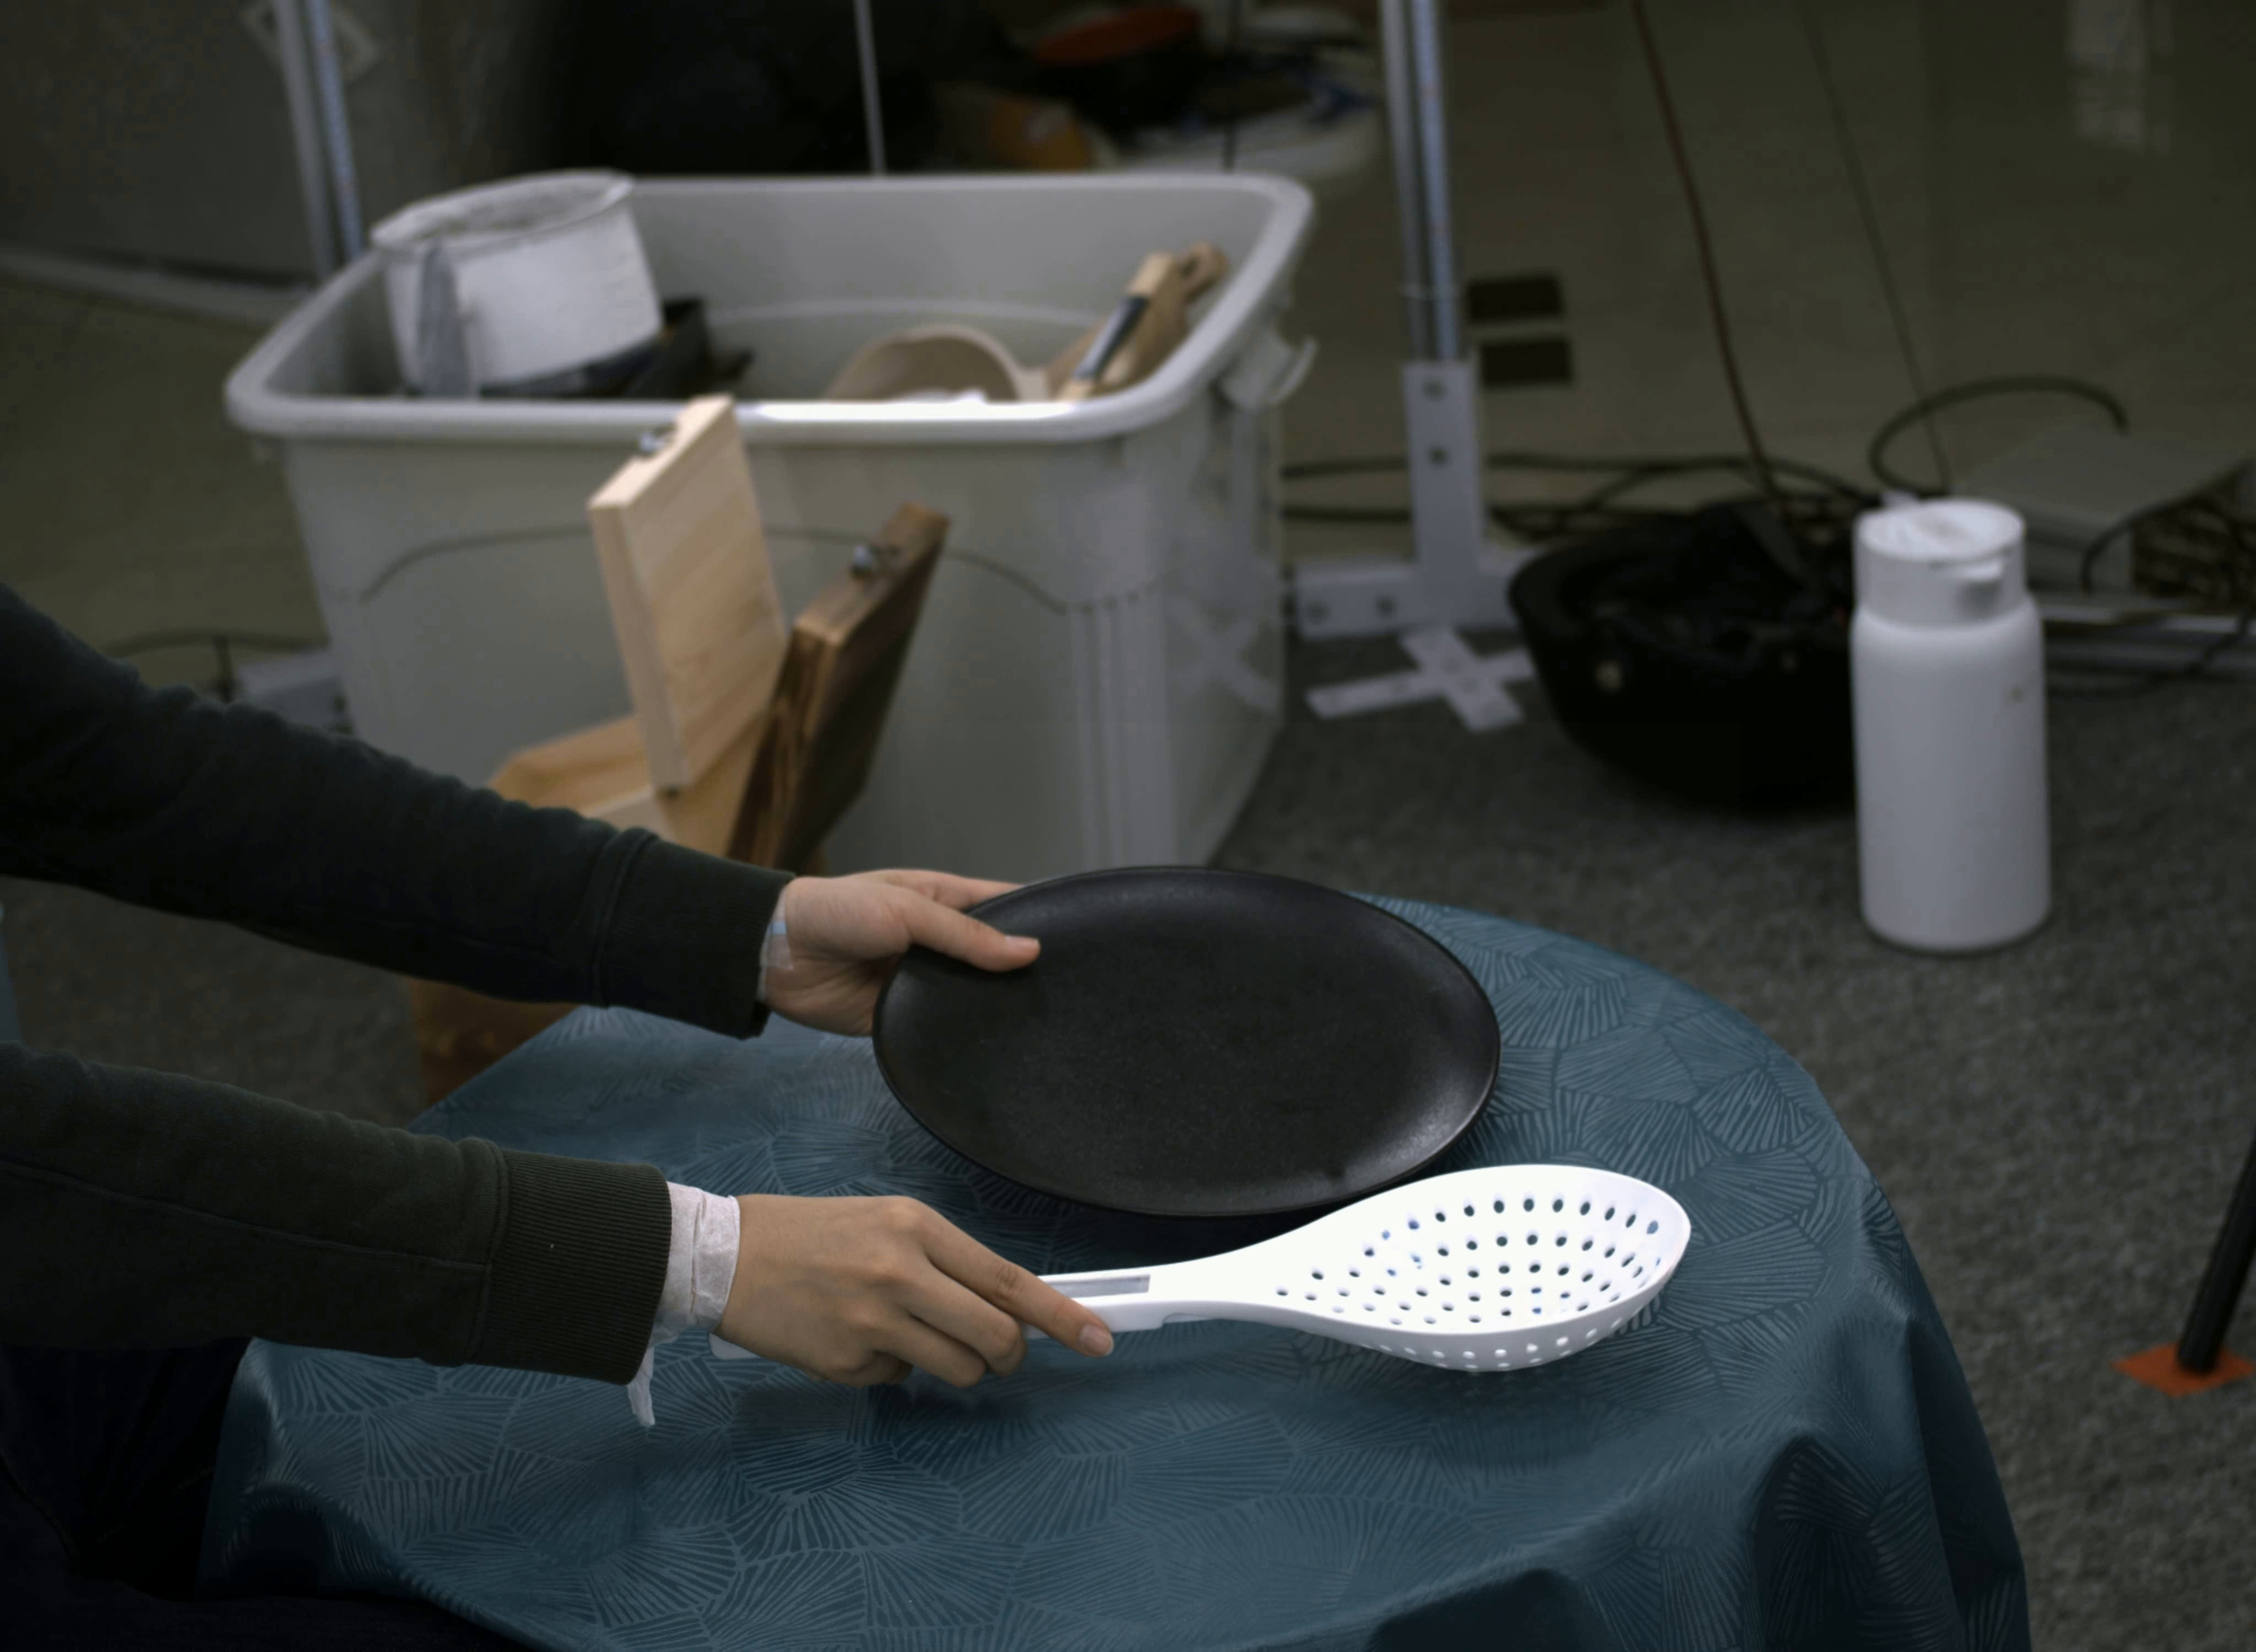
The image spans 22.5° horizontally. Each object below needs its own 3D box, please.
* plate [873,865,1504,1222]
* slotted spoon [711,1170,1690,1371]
[{"bbox_3d":[0.023,0.088,2.189,0.244,0.024,0.240,2,33,-1],"label":"plate"},{"bbox_3d":[0.024,0.166,2.017,0.349,0.046,0.134,-1,20,5],"label":"slotted spoon"}]
